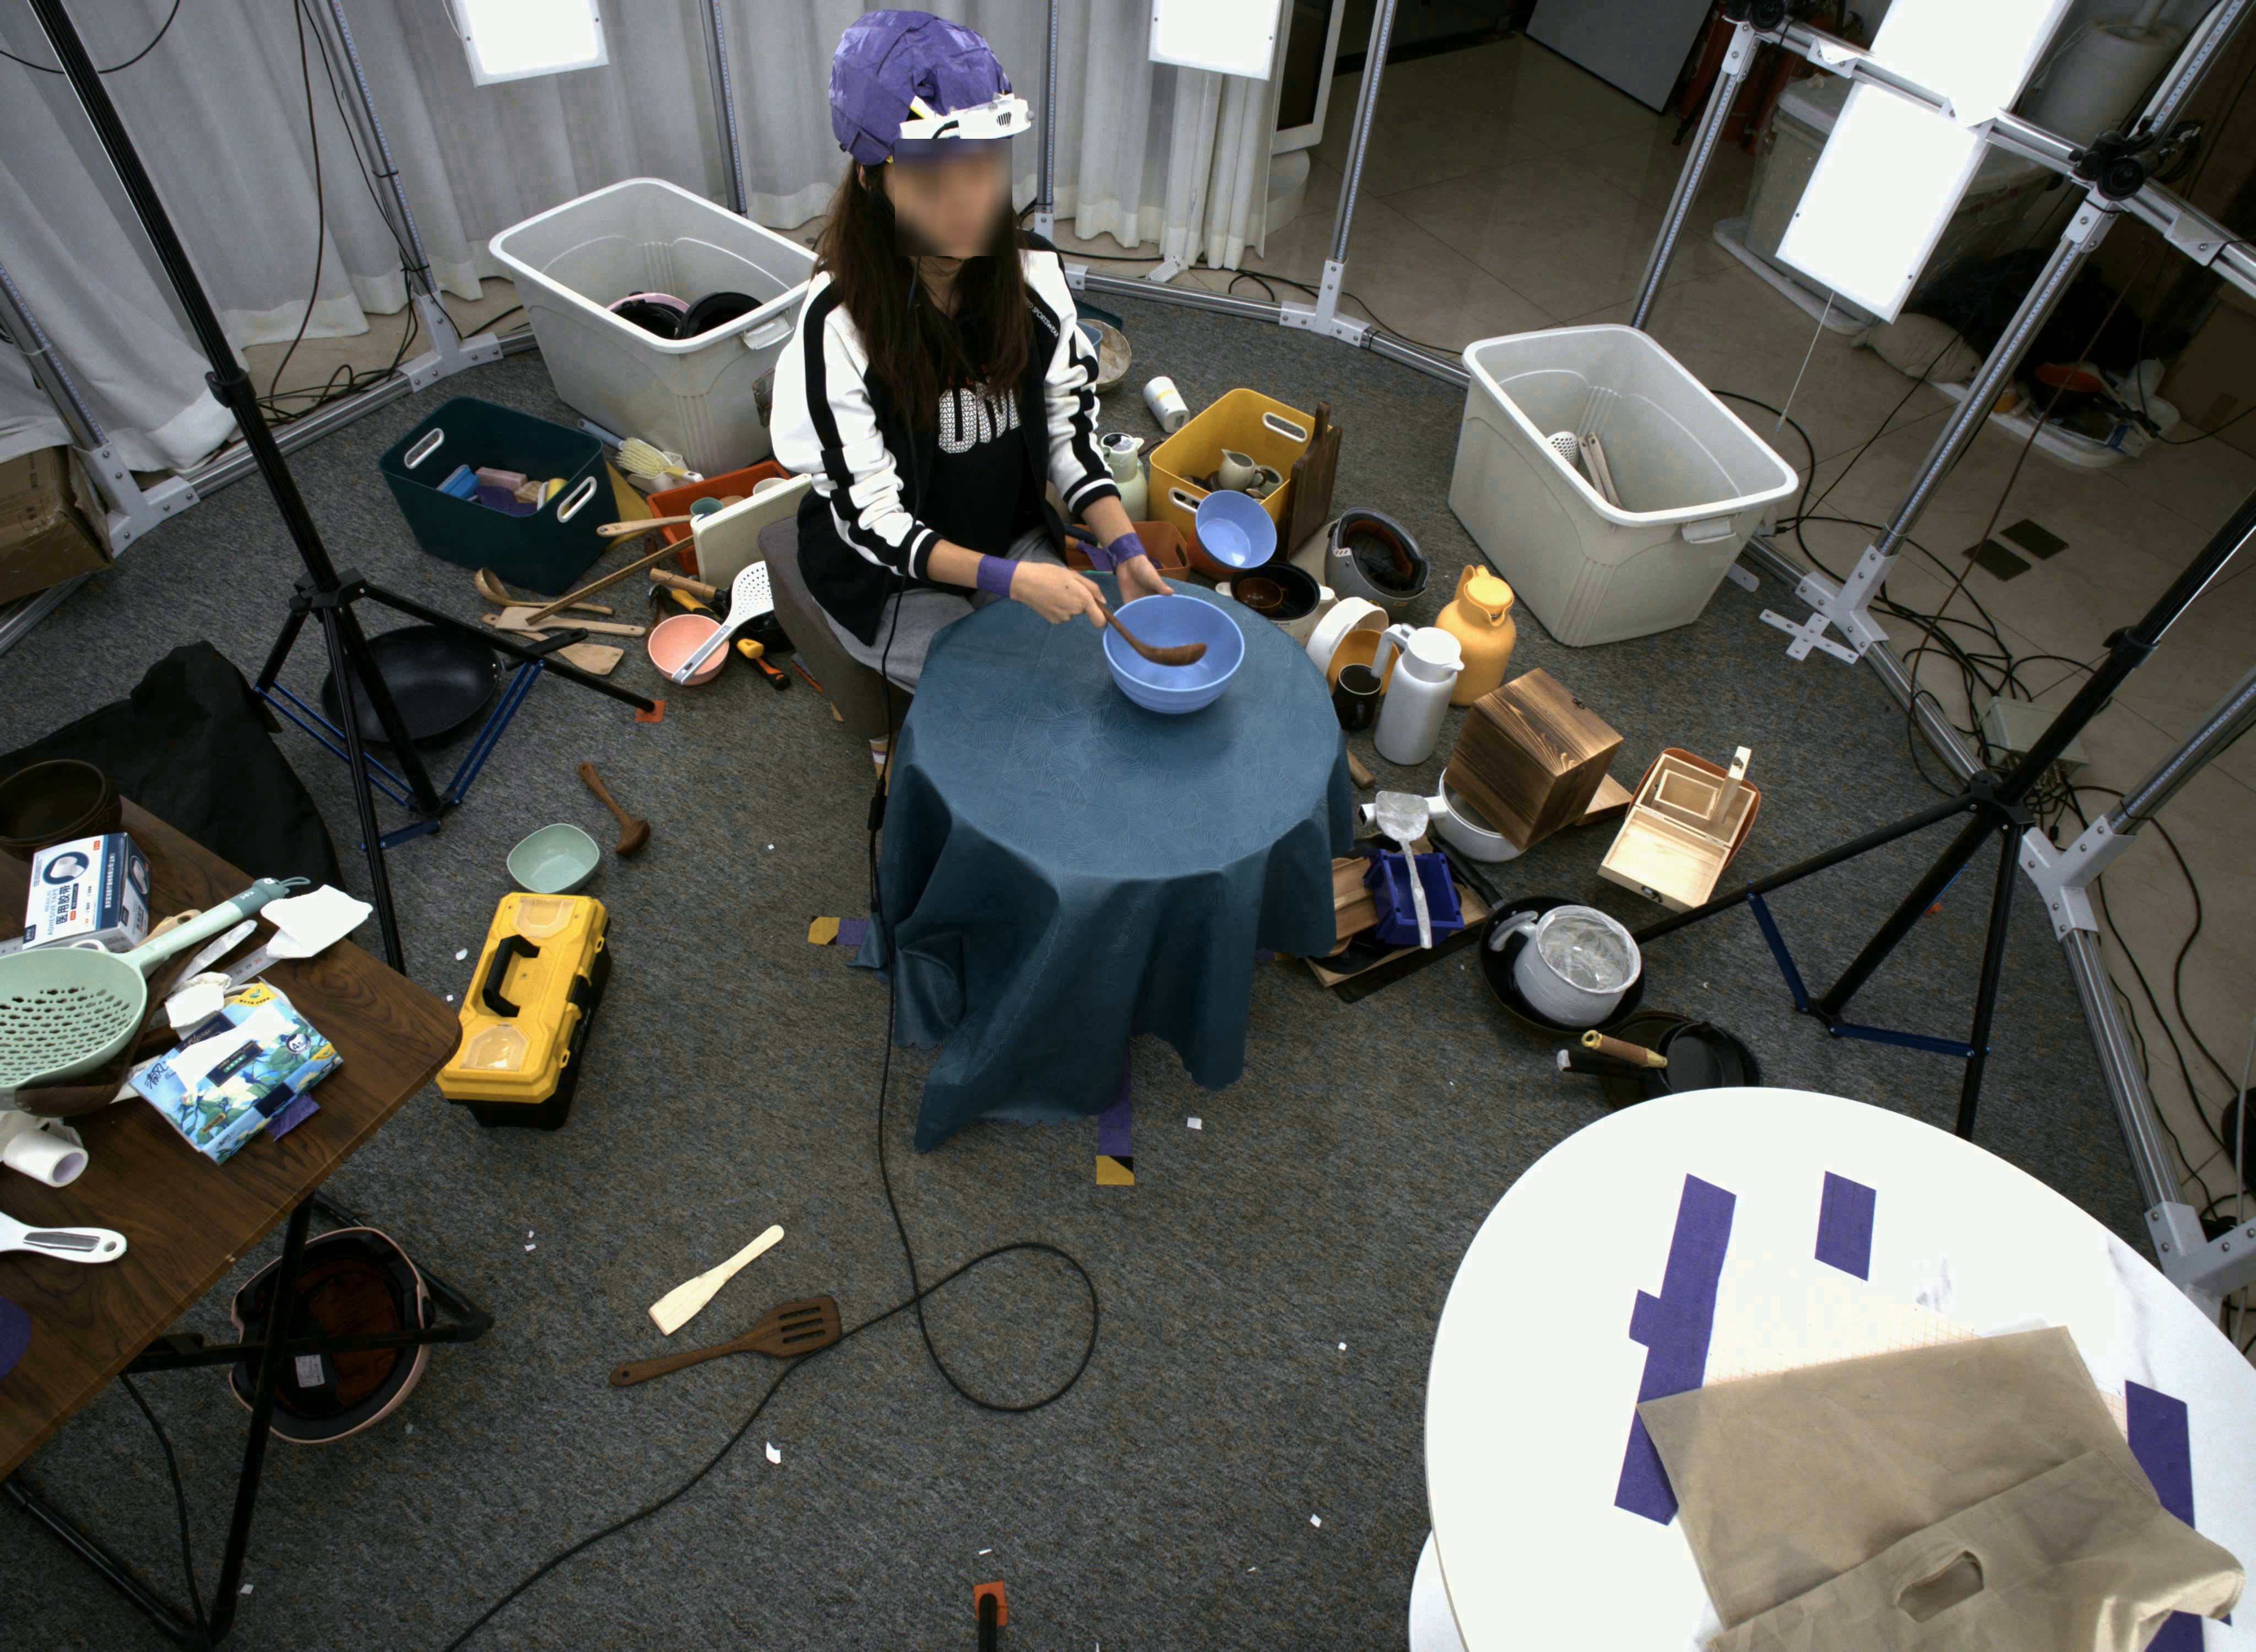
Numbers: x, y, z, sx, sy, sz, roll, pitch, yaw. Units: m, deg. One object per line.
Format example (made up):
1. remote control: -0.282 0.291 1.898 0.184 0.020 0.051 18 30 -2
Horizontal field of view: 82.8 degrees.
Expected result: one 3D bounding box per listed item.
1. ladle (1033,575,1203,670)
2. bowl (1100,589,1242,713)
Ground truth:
1. ladle: -0.013 -0.292 1.775 0.262 0.076 0.065 37 99 9
2. bowl: 0.058 -0.233 1.815 0.196 0.093 0.201 0 55 -1
